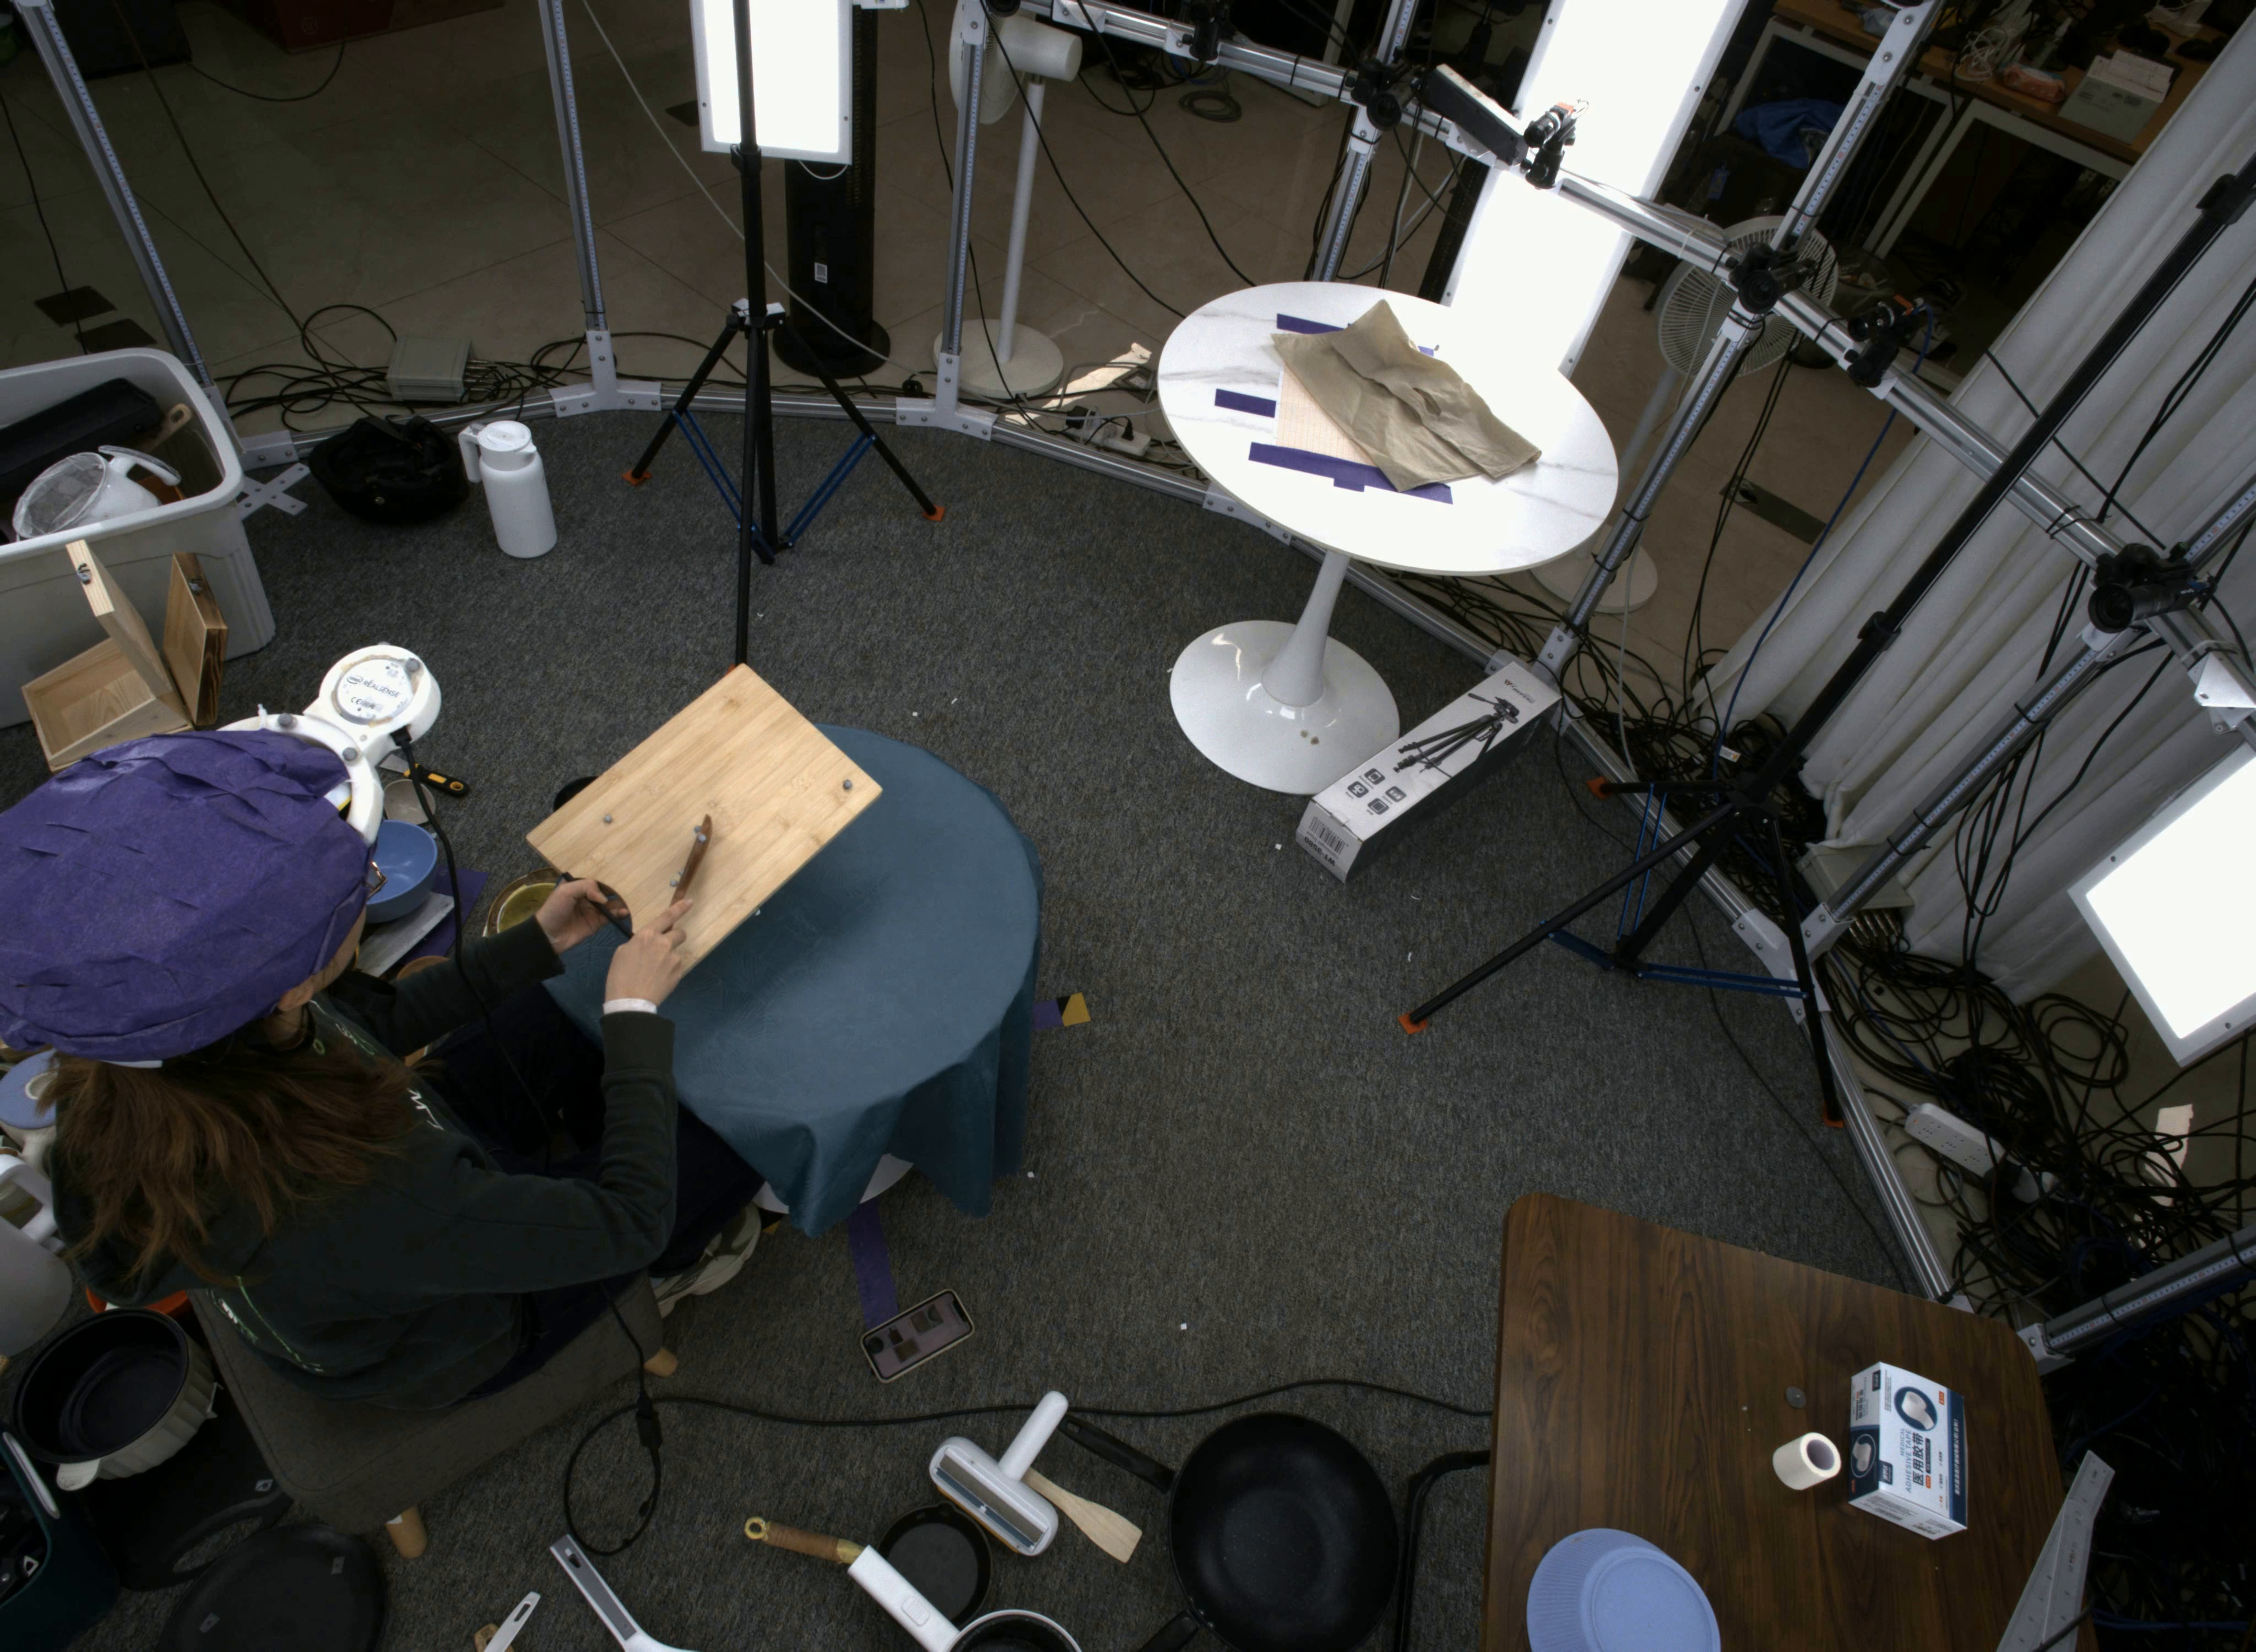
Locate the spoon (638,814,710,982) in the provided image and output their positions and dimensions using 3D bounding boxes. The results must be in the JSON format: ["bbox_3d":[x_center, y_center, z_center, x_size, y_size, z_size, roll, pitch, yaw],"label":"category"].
[{"bbox_3d":[-0.498,0.076,1.420,0.017,0.075,0.212,25,49,-19],"label":"spoon"}]

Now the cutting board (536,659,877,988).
[{"bbox_3d":[-0.499,-0.013,1.522,0.250,0.023,0.348,41,61,0],"label":"cutting board"}]
